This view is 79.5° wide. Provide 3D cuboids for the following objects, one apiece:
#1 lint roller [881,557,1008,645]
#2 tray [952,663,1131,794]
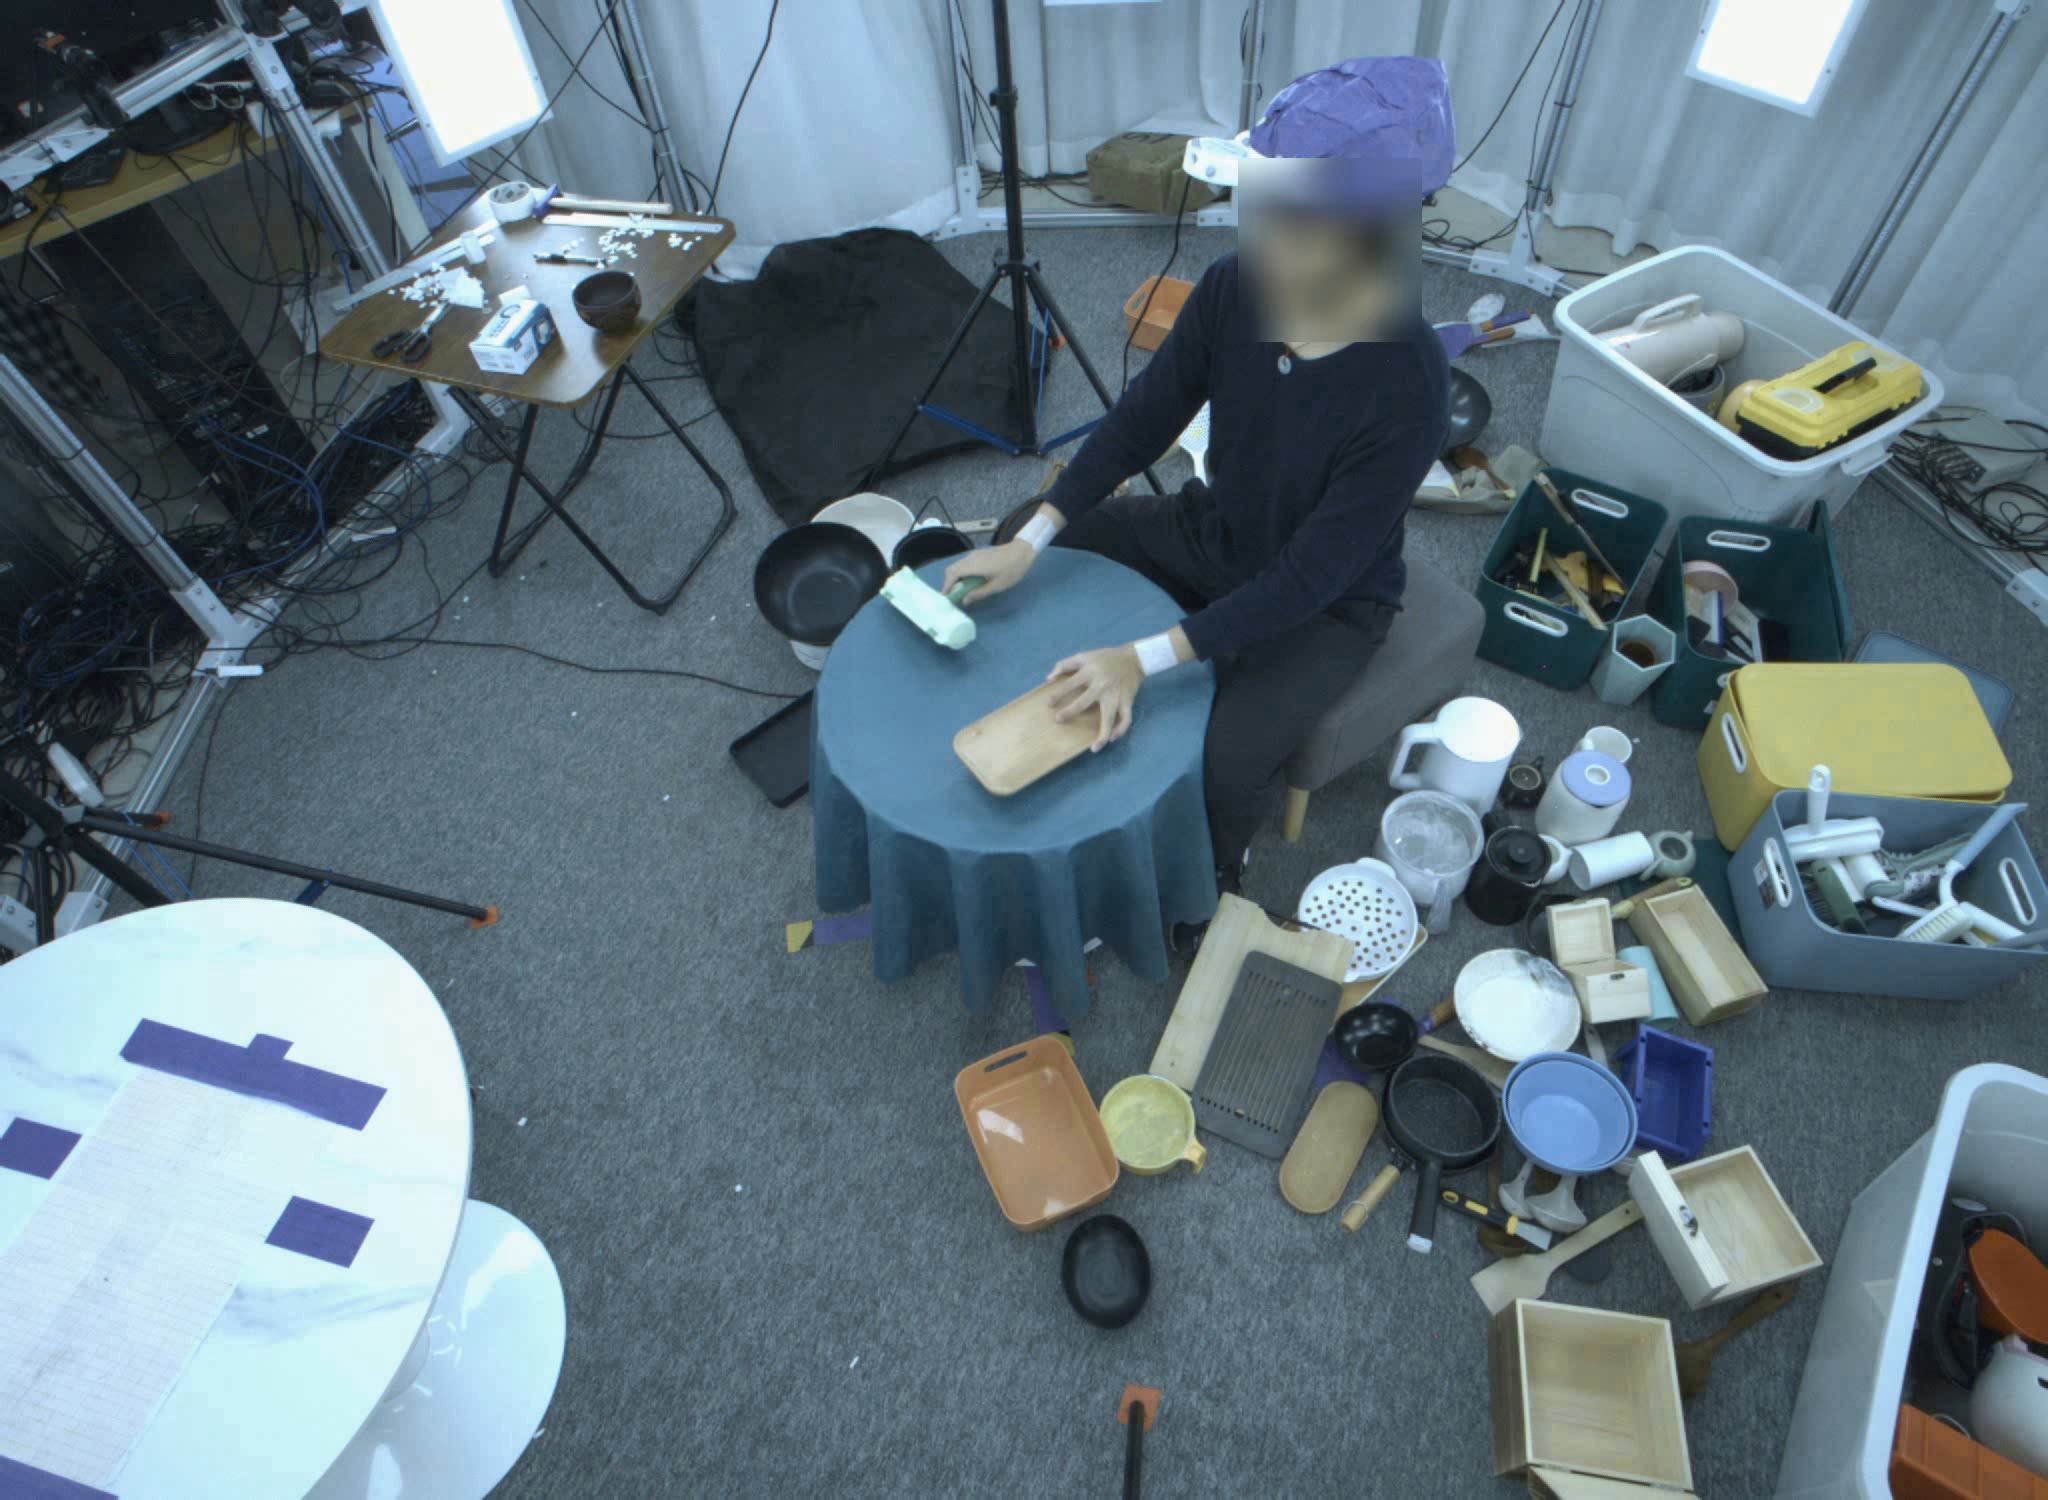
[{"bbox_3d":[-0.107,-0.261,1.897,0.184,0.084,0.194,-41,48,-11],"label":"lint roller"},{"bbox_3d":[0.026,-0.033,1.747,0.253,0.023,0.128,-29,65,-23],"label":"tray"}]
